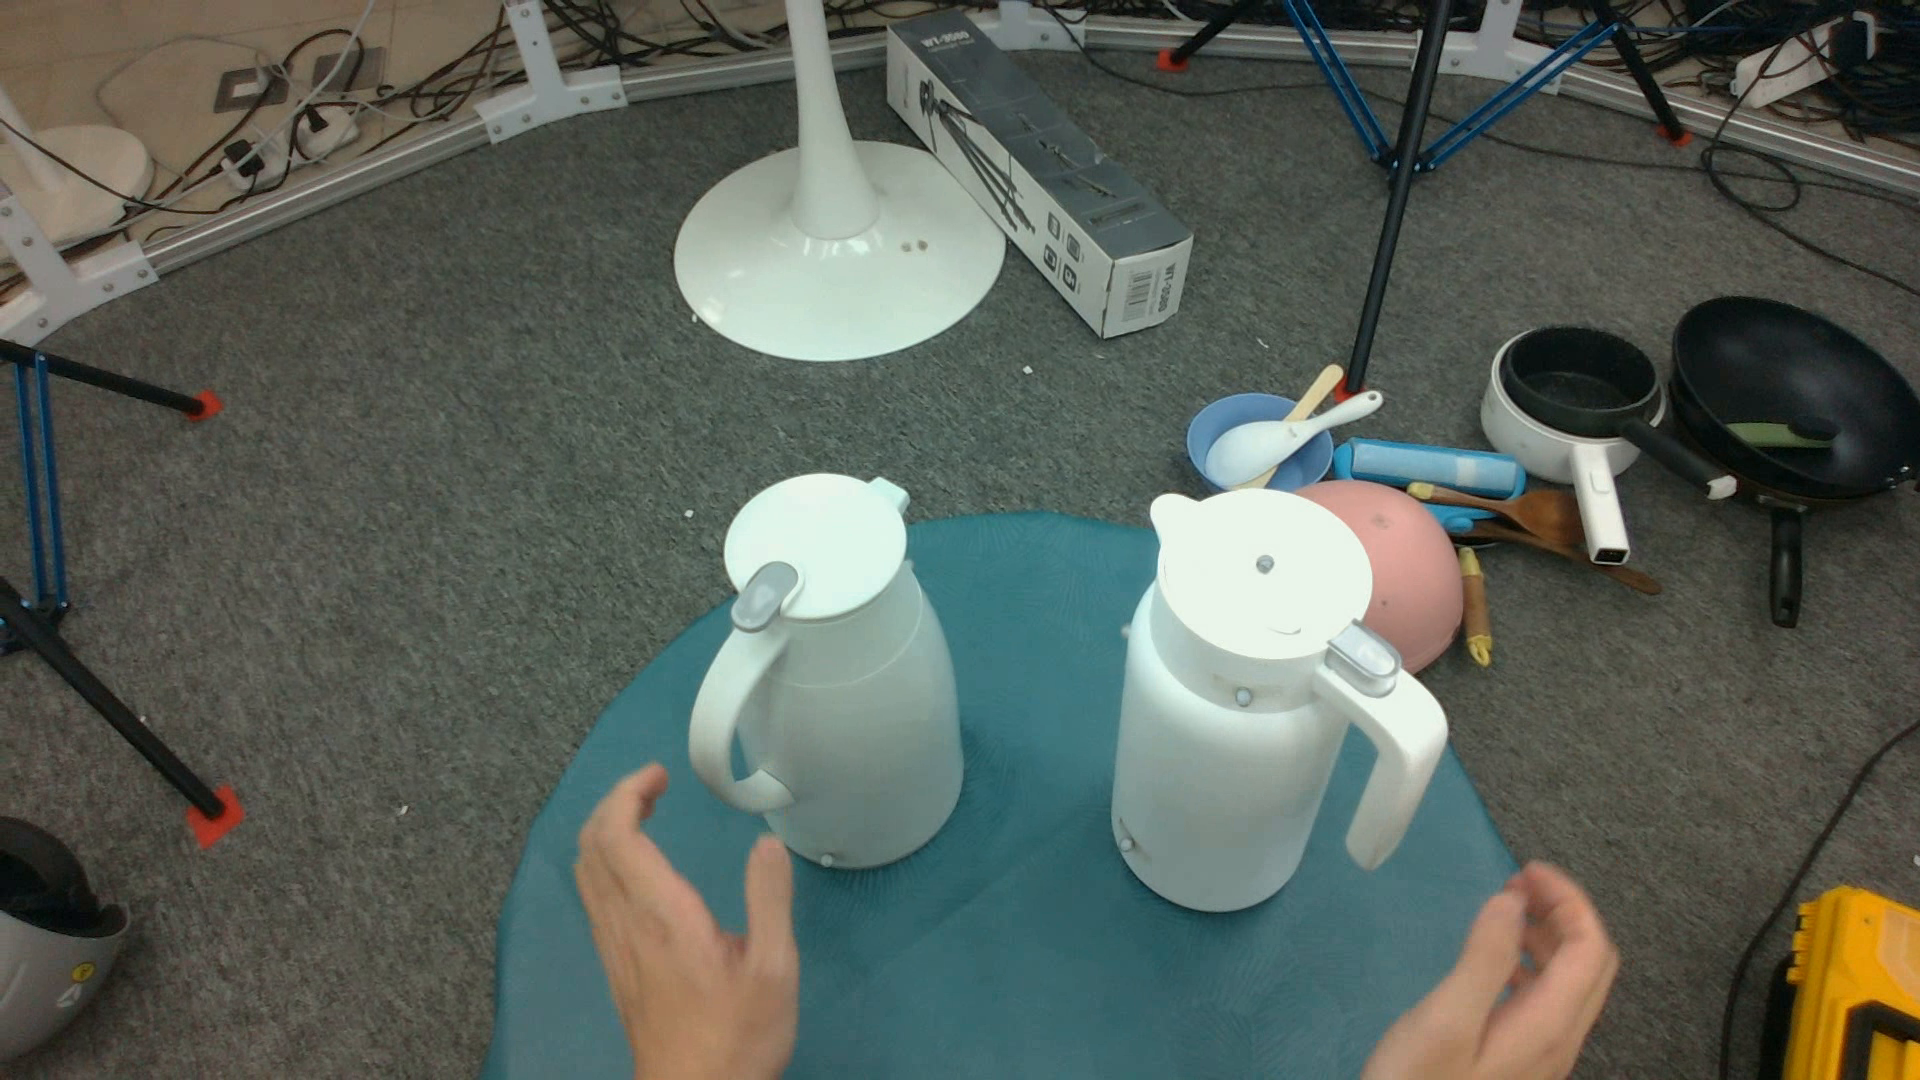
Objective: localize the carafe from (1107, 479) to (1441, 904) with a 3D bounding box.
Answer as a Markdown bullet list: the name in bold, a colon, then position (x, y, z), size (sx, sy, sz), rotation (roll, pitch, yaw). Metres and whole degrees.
- **carafe**: position (0.156, 0.100, 0.734), size (0.124, 0.267, 0.173), rotation (-35, 59, -25)

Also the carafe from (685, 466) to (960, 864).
- **carafe**: position (-0.081, 0.082, 0.766), size (0.132, 0.247, 0.168), rotation (28, 59, 22)
